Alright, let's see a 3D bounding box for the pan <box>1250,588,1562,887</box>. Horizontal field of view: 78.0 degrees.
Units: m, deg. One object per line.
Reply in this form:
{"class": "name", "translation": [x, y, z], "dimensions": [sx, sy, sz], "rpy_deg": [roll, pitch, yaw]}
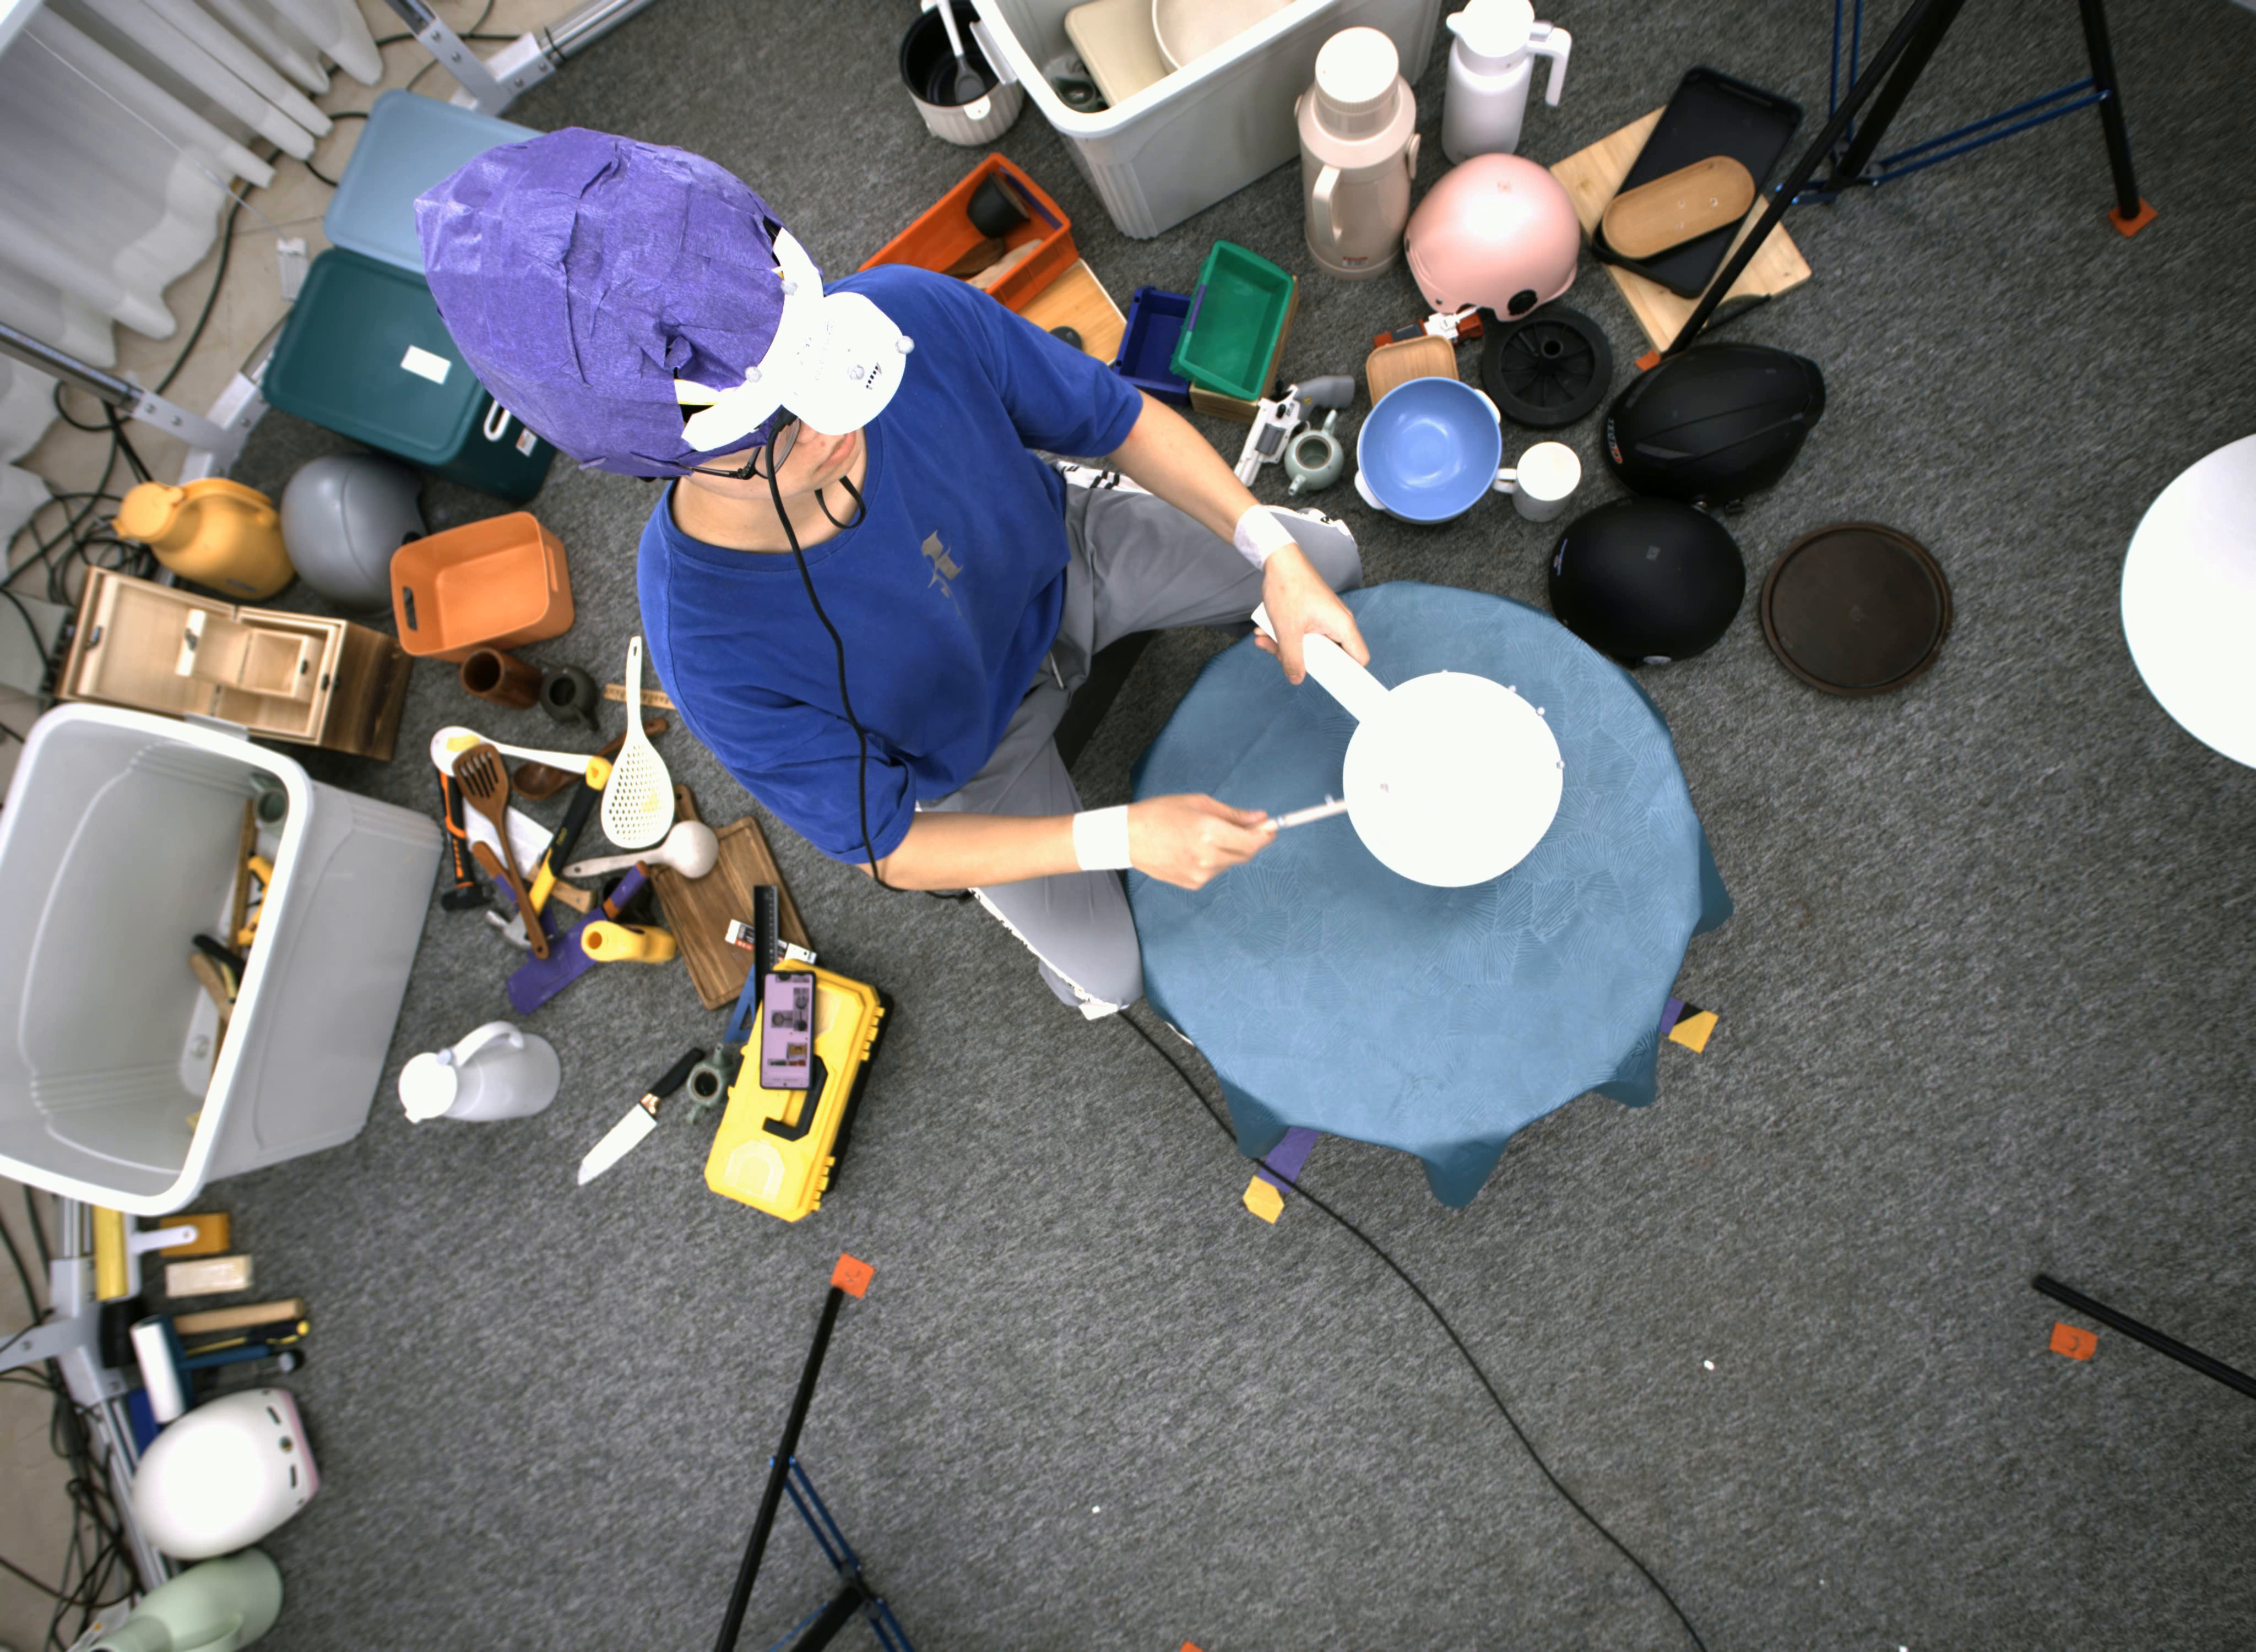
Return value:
{"class": "pan", "translation": [0.267, -0.101, 1.350], "dimensions": [0.352, 0.101, 0.205], "rpy_deg": [46, 115, 13]}

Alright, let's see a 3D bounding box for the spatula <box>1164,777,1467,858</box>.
{"class": "spatula", "translation": [0.169, -0.005, 1.281], "dimensions": [0.296, 0.071, 0.011], "rpy_deg": [-14, 96, 22]}
